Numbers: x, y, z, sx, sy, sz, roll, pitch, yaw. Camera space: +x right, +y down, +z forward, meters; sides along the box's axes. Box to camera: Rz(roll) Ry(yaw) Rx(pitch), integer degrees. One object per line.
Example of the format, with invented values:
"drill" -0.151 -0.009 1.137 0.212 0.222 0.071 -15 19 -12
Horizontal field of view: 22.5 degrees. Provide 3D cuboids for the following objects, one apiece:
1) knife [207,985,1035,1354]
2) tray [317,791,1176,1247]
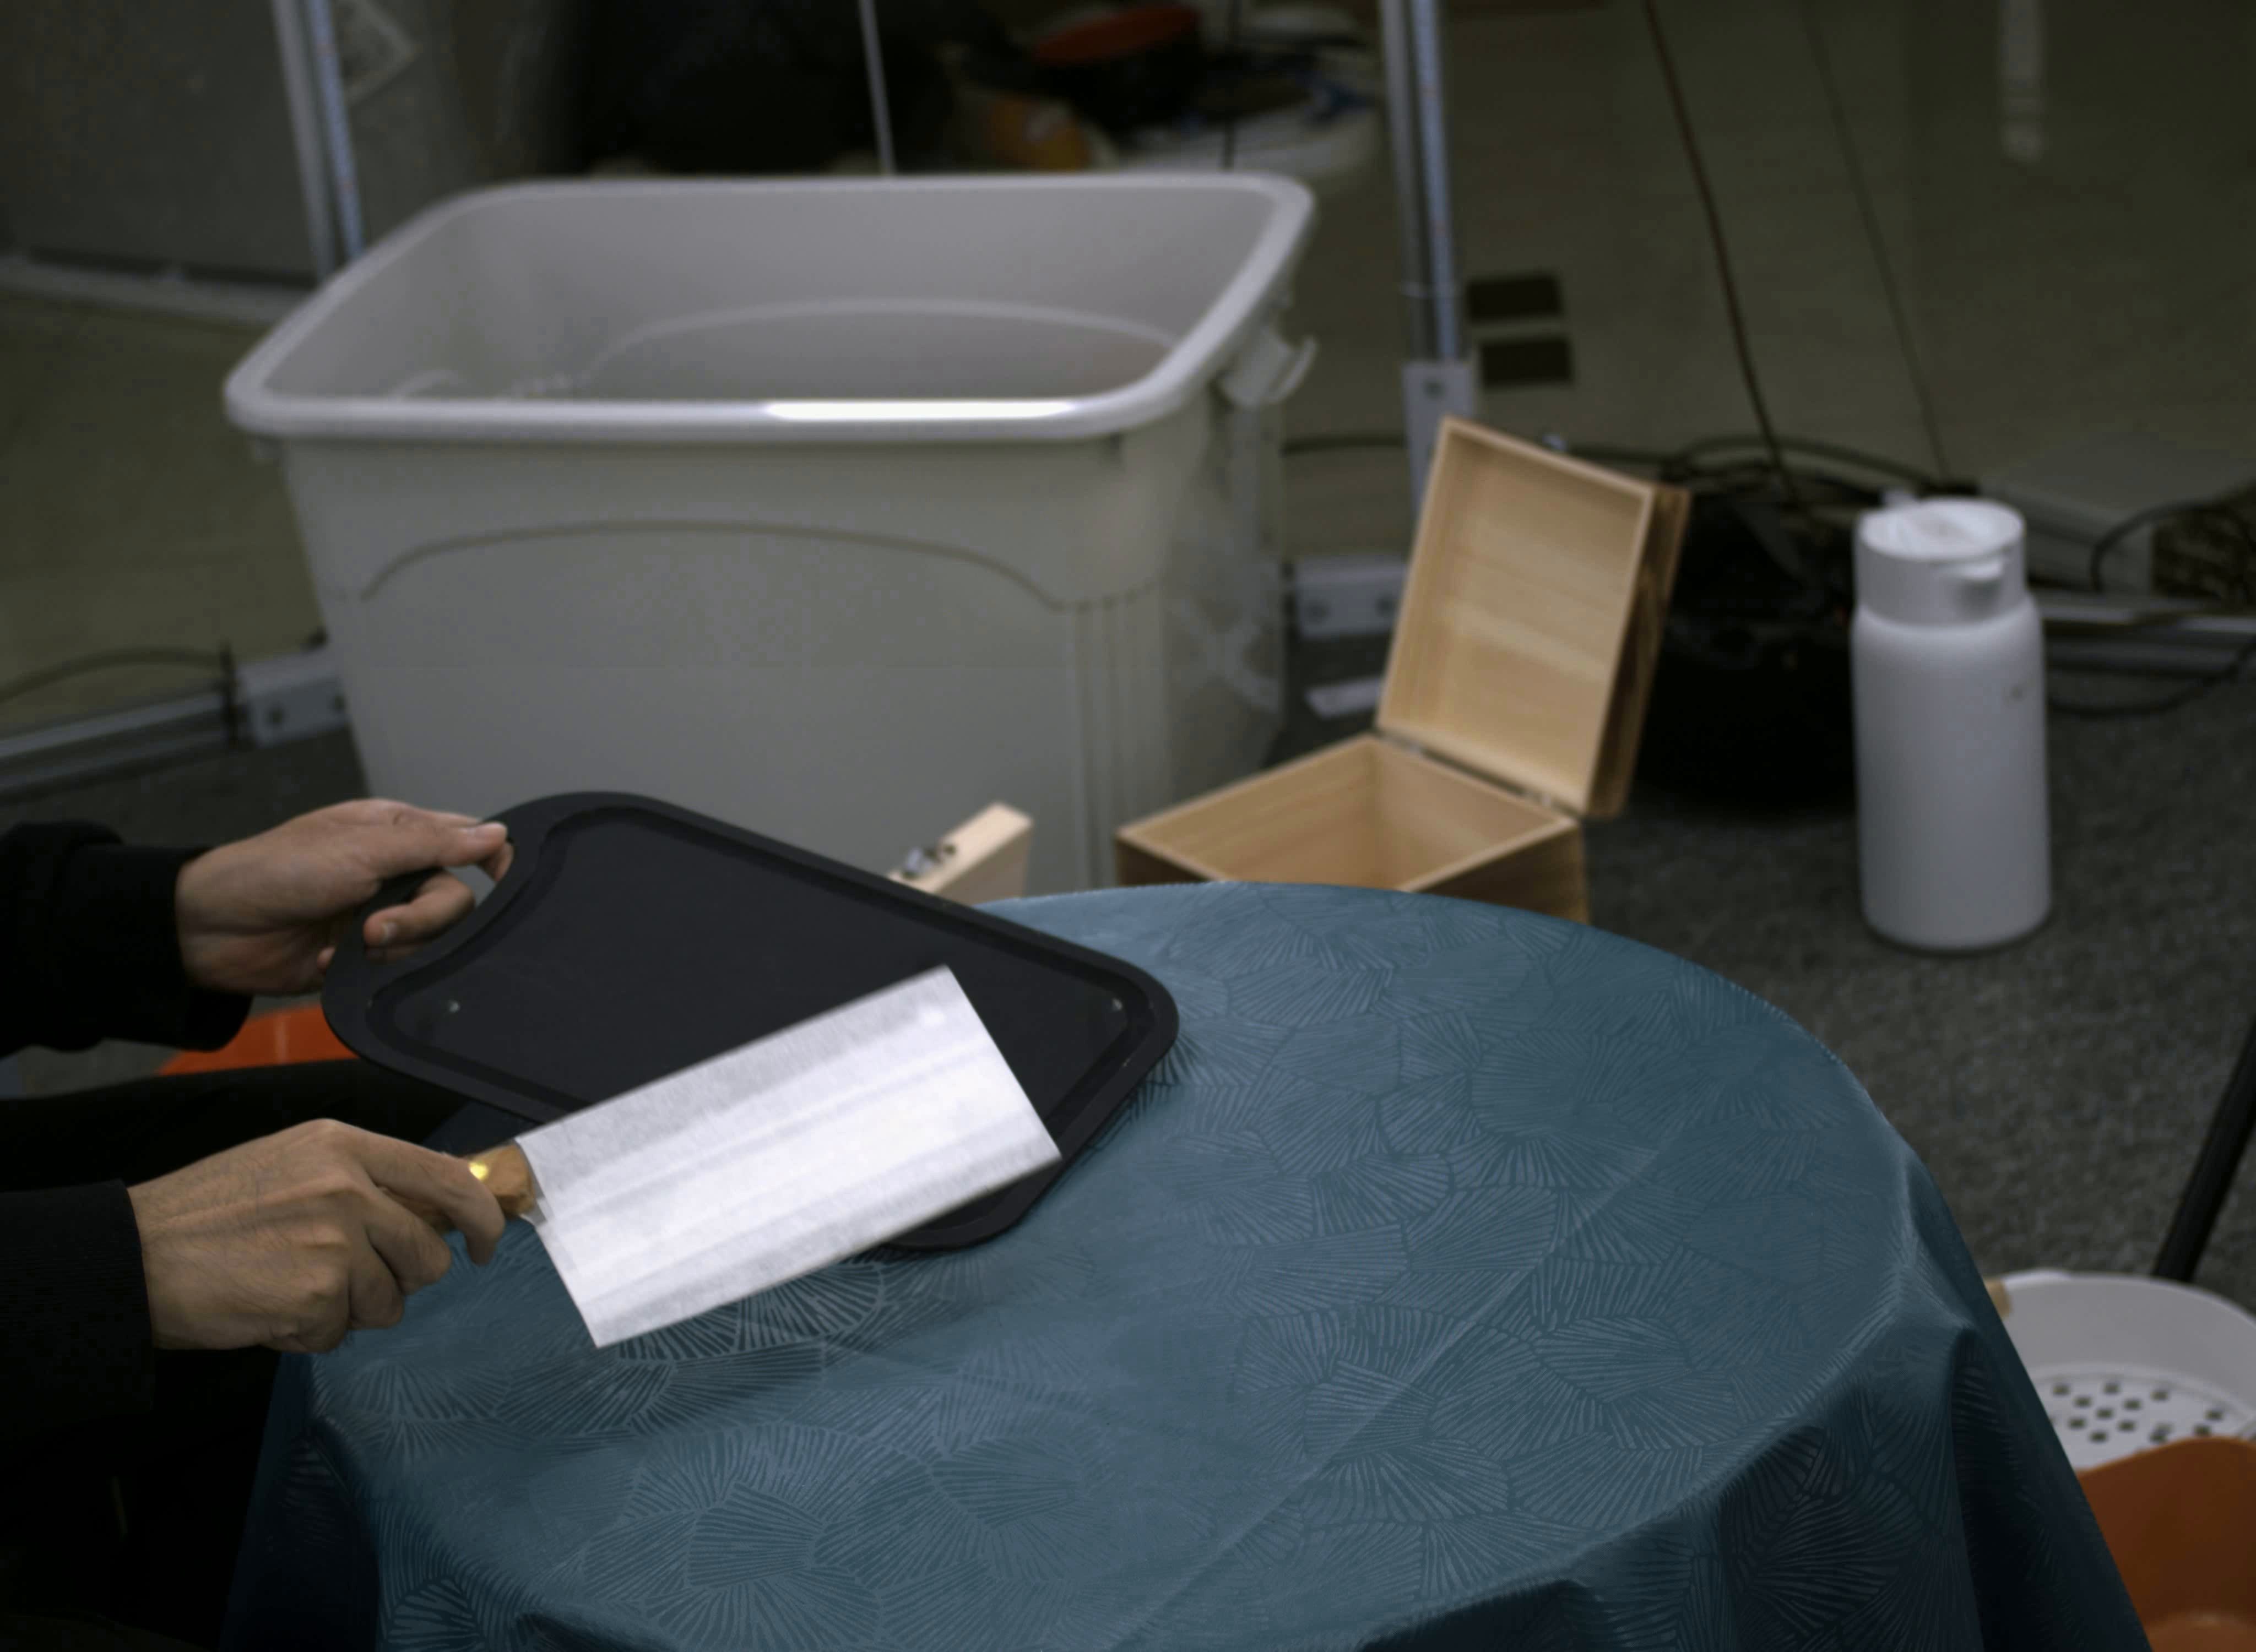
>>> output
"knife" -0.175 0.140 2.037 0.304 0.021 0.092 -21 62 -22
"tray" -0.157 0.069 2.233 0.323 0.010 0.208 19 38 21
